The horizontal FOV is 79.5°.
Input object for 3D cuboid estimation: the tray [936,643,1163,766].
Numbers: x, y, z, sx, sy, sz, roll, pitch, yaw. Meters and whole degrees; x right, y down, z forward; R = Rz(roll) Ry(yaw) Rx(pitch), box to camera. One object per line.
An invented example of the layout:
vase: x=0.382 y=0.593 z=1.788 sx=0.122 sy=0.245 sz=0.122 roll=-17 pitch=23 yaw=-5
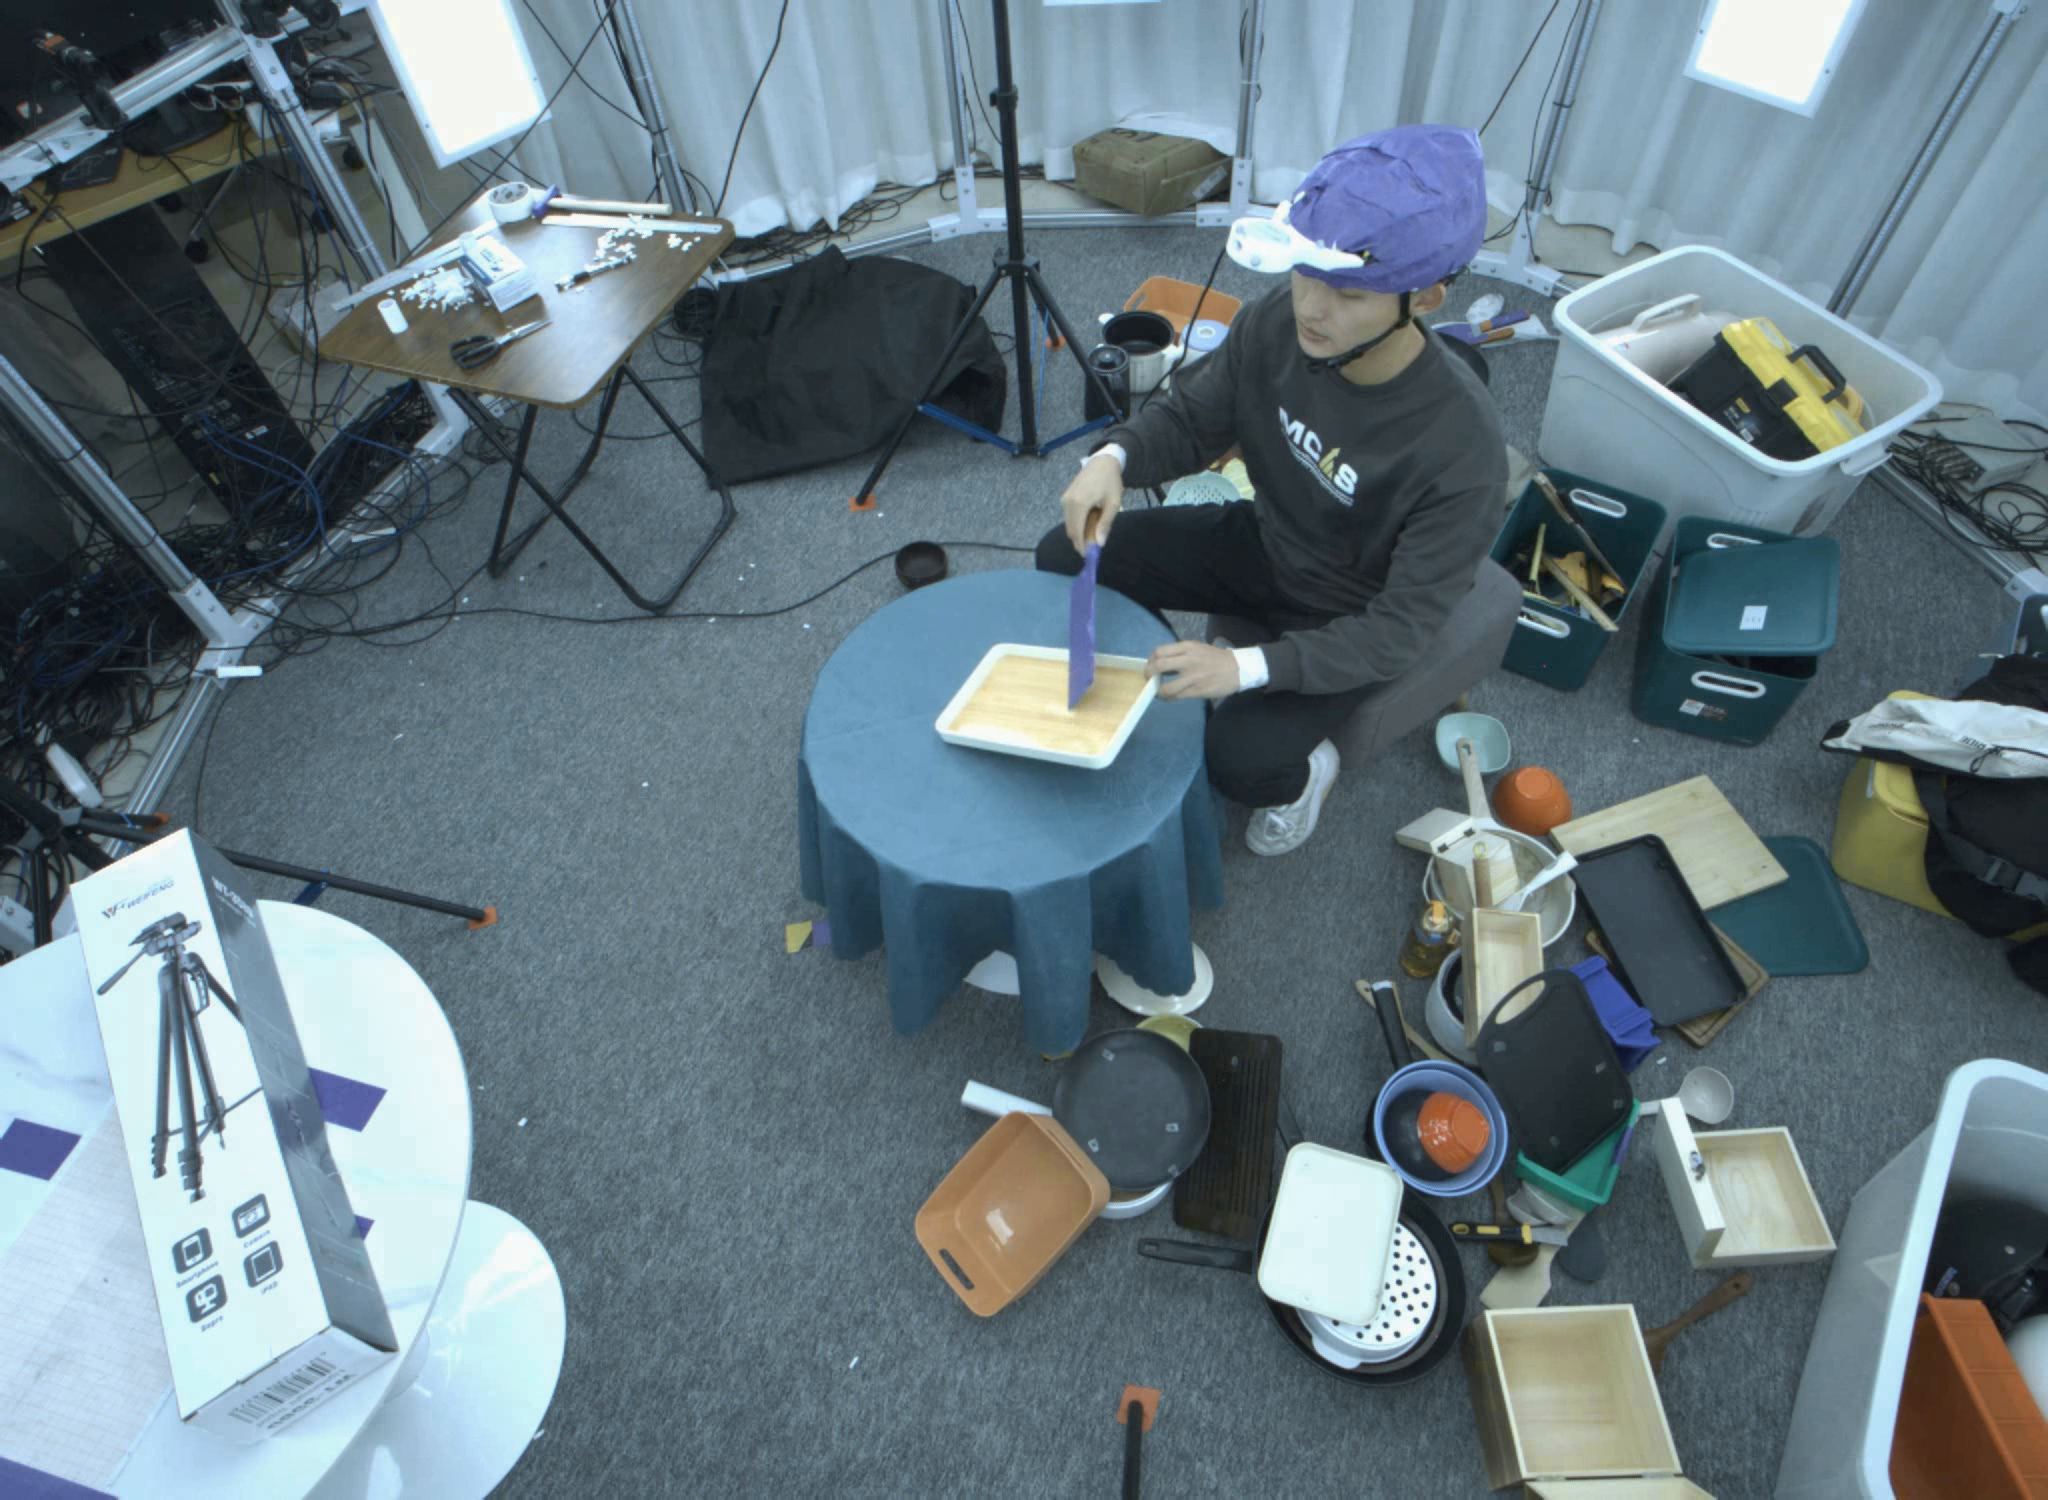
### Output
tray: x=0.034 y=-0.070 z=1.767 sx=0.294 sy=0.028 sz=0.192 roll=10 pitch=52 yaw=34

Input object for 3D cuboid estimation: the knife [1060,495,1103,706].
knife: x=0.079 y=-0.217 z=1.766 sx=0.032 sy=0.103 sz=0.313 roll=13 pitch=64 yaw=-19
